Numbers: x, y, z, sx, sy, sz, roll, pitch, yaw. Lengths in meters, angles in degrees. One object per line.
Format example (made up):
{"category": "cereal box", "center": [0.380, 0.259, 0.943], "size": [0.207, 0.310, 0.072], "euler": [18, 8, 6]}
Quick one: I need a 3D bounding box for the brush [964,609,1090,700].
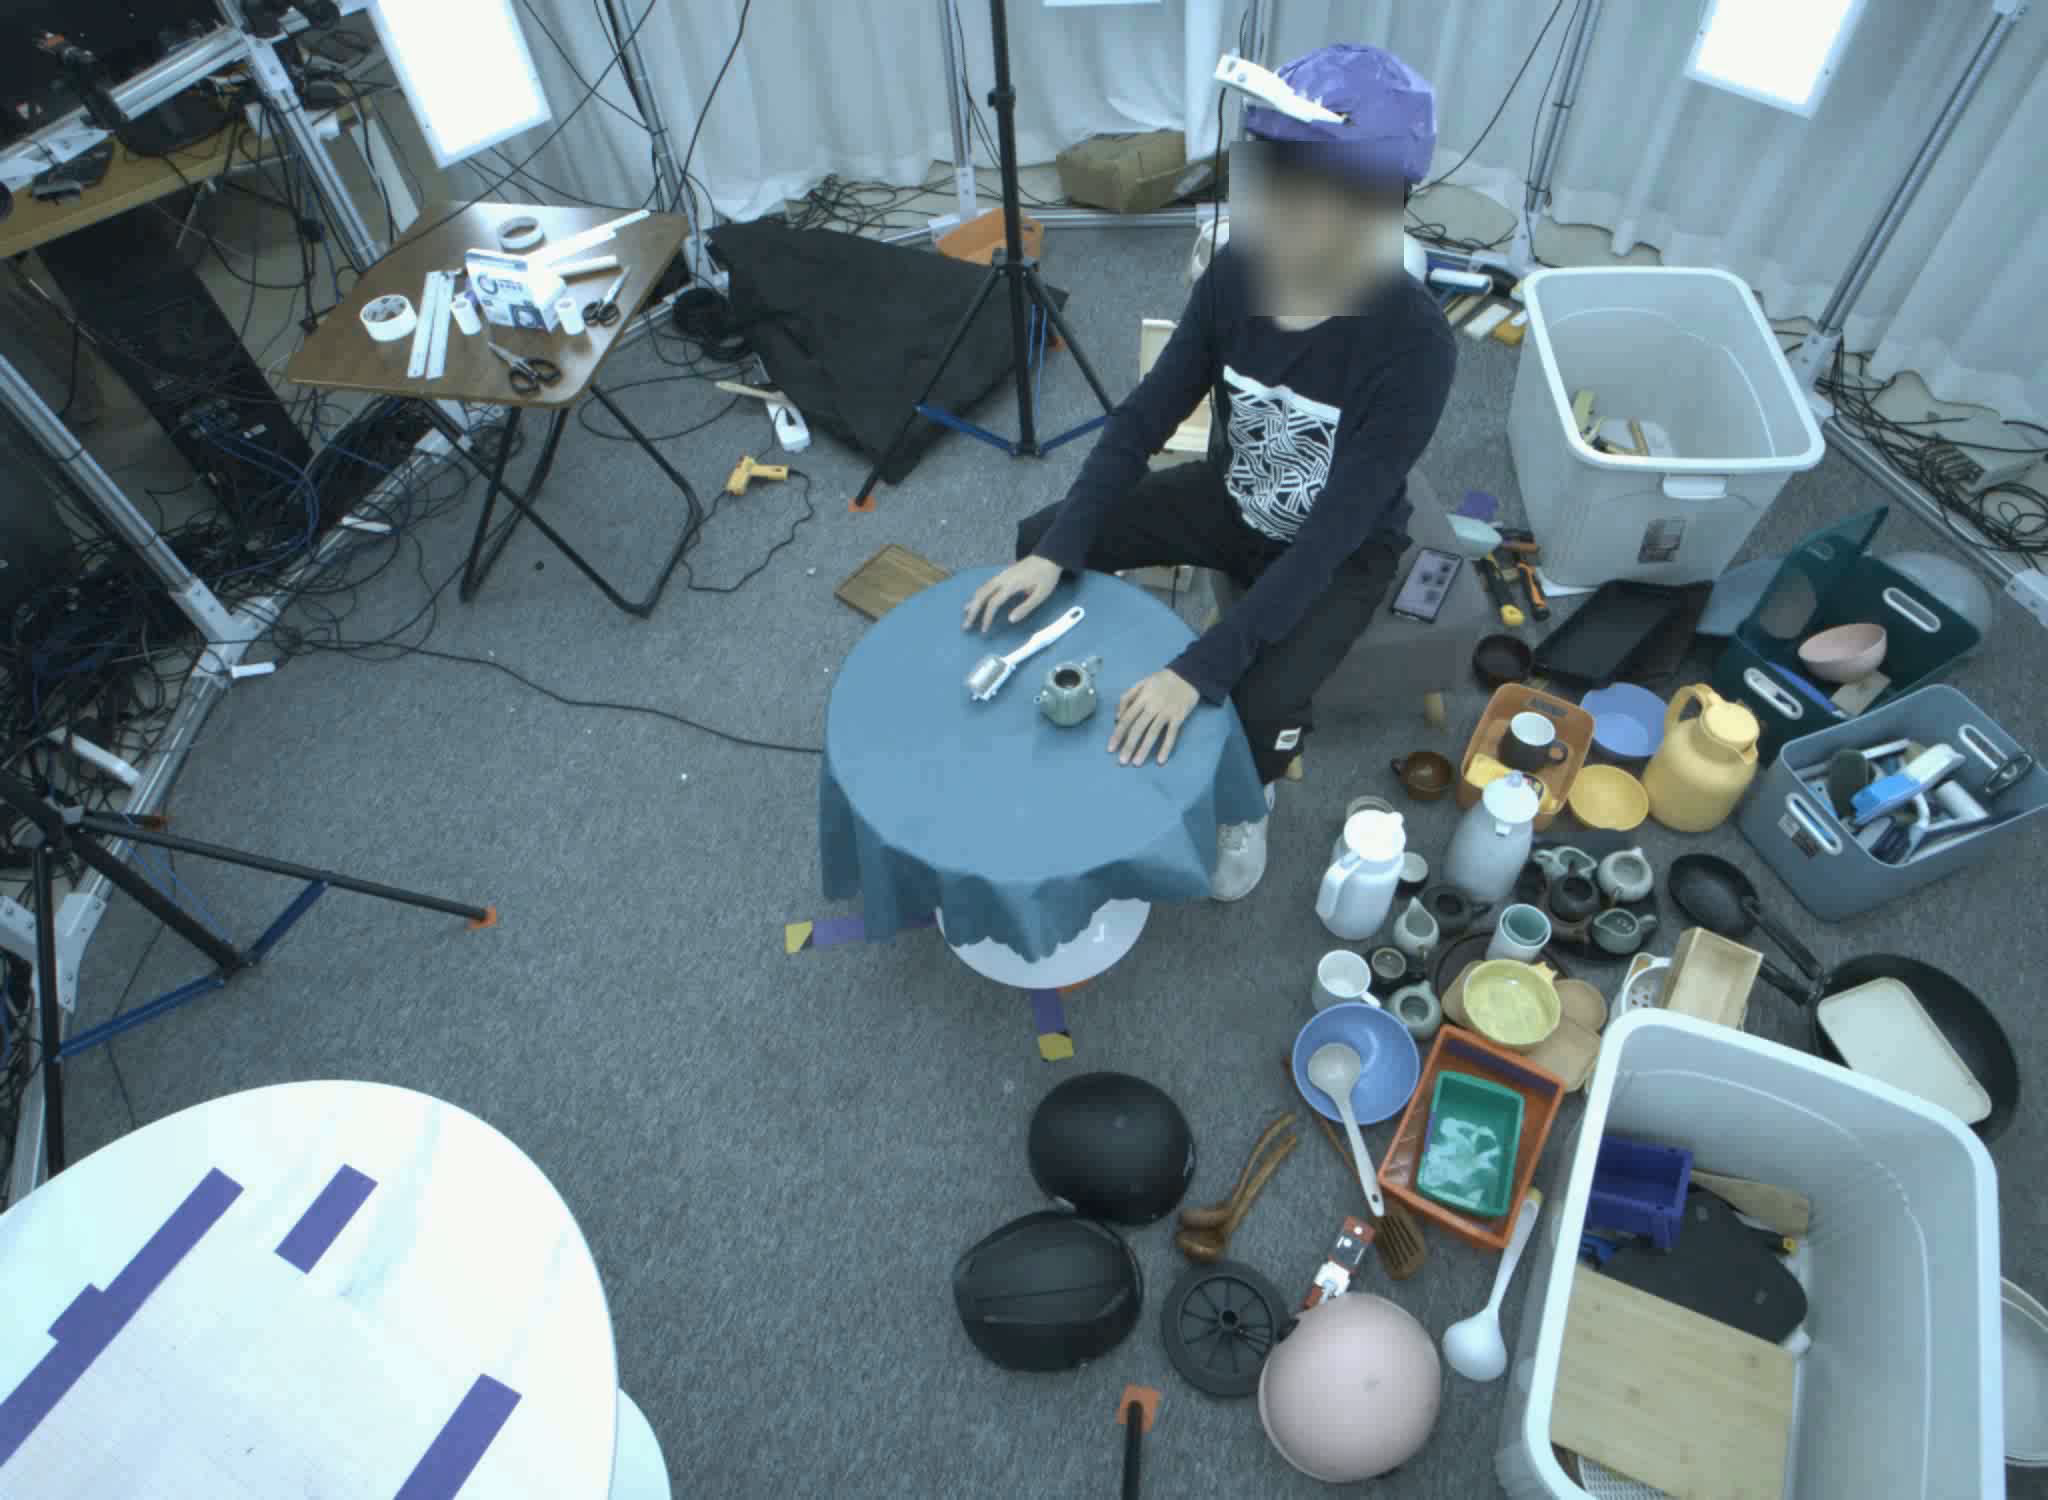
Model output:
{"category": "brush", "center": [0.008, -0.158, 1.863], "size": [0.245, 0.051, 0.033], "euler": [-38, 56, -22]}

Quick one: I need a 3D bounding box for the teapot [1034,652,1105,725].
{"category": "teapot", "center": [0.066, -0.087, 1.794], "size": [0.133, 0.076, 0.078], "euler": [-38, 61, -23]}
